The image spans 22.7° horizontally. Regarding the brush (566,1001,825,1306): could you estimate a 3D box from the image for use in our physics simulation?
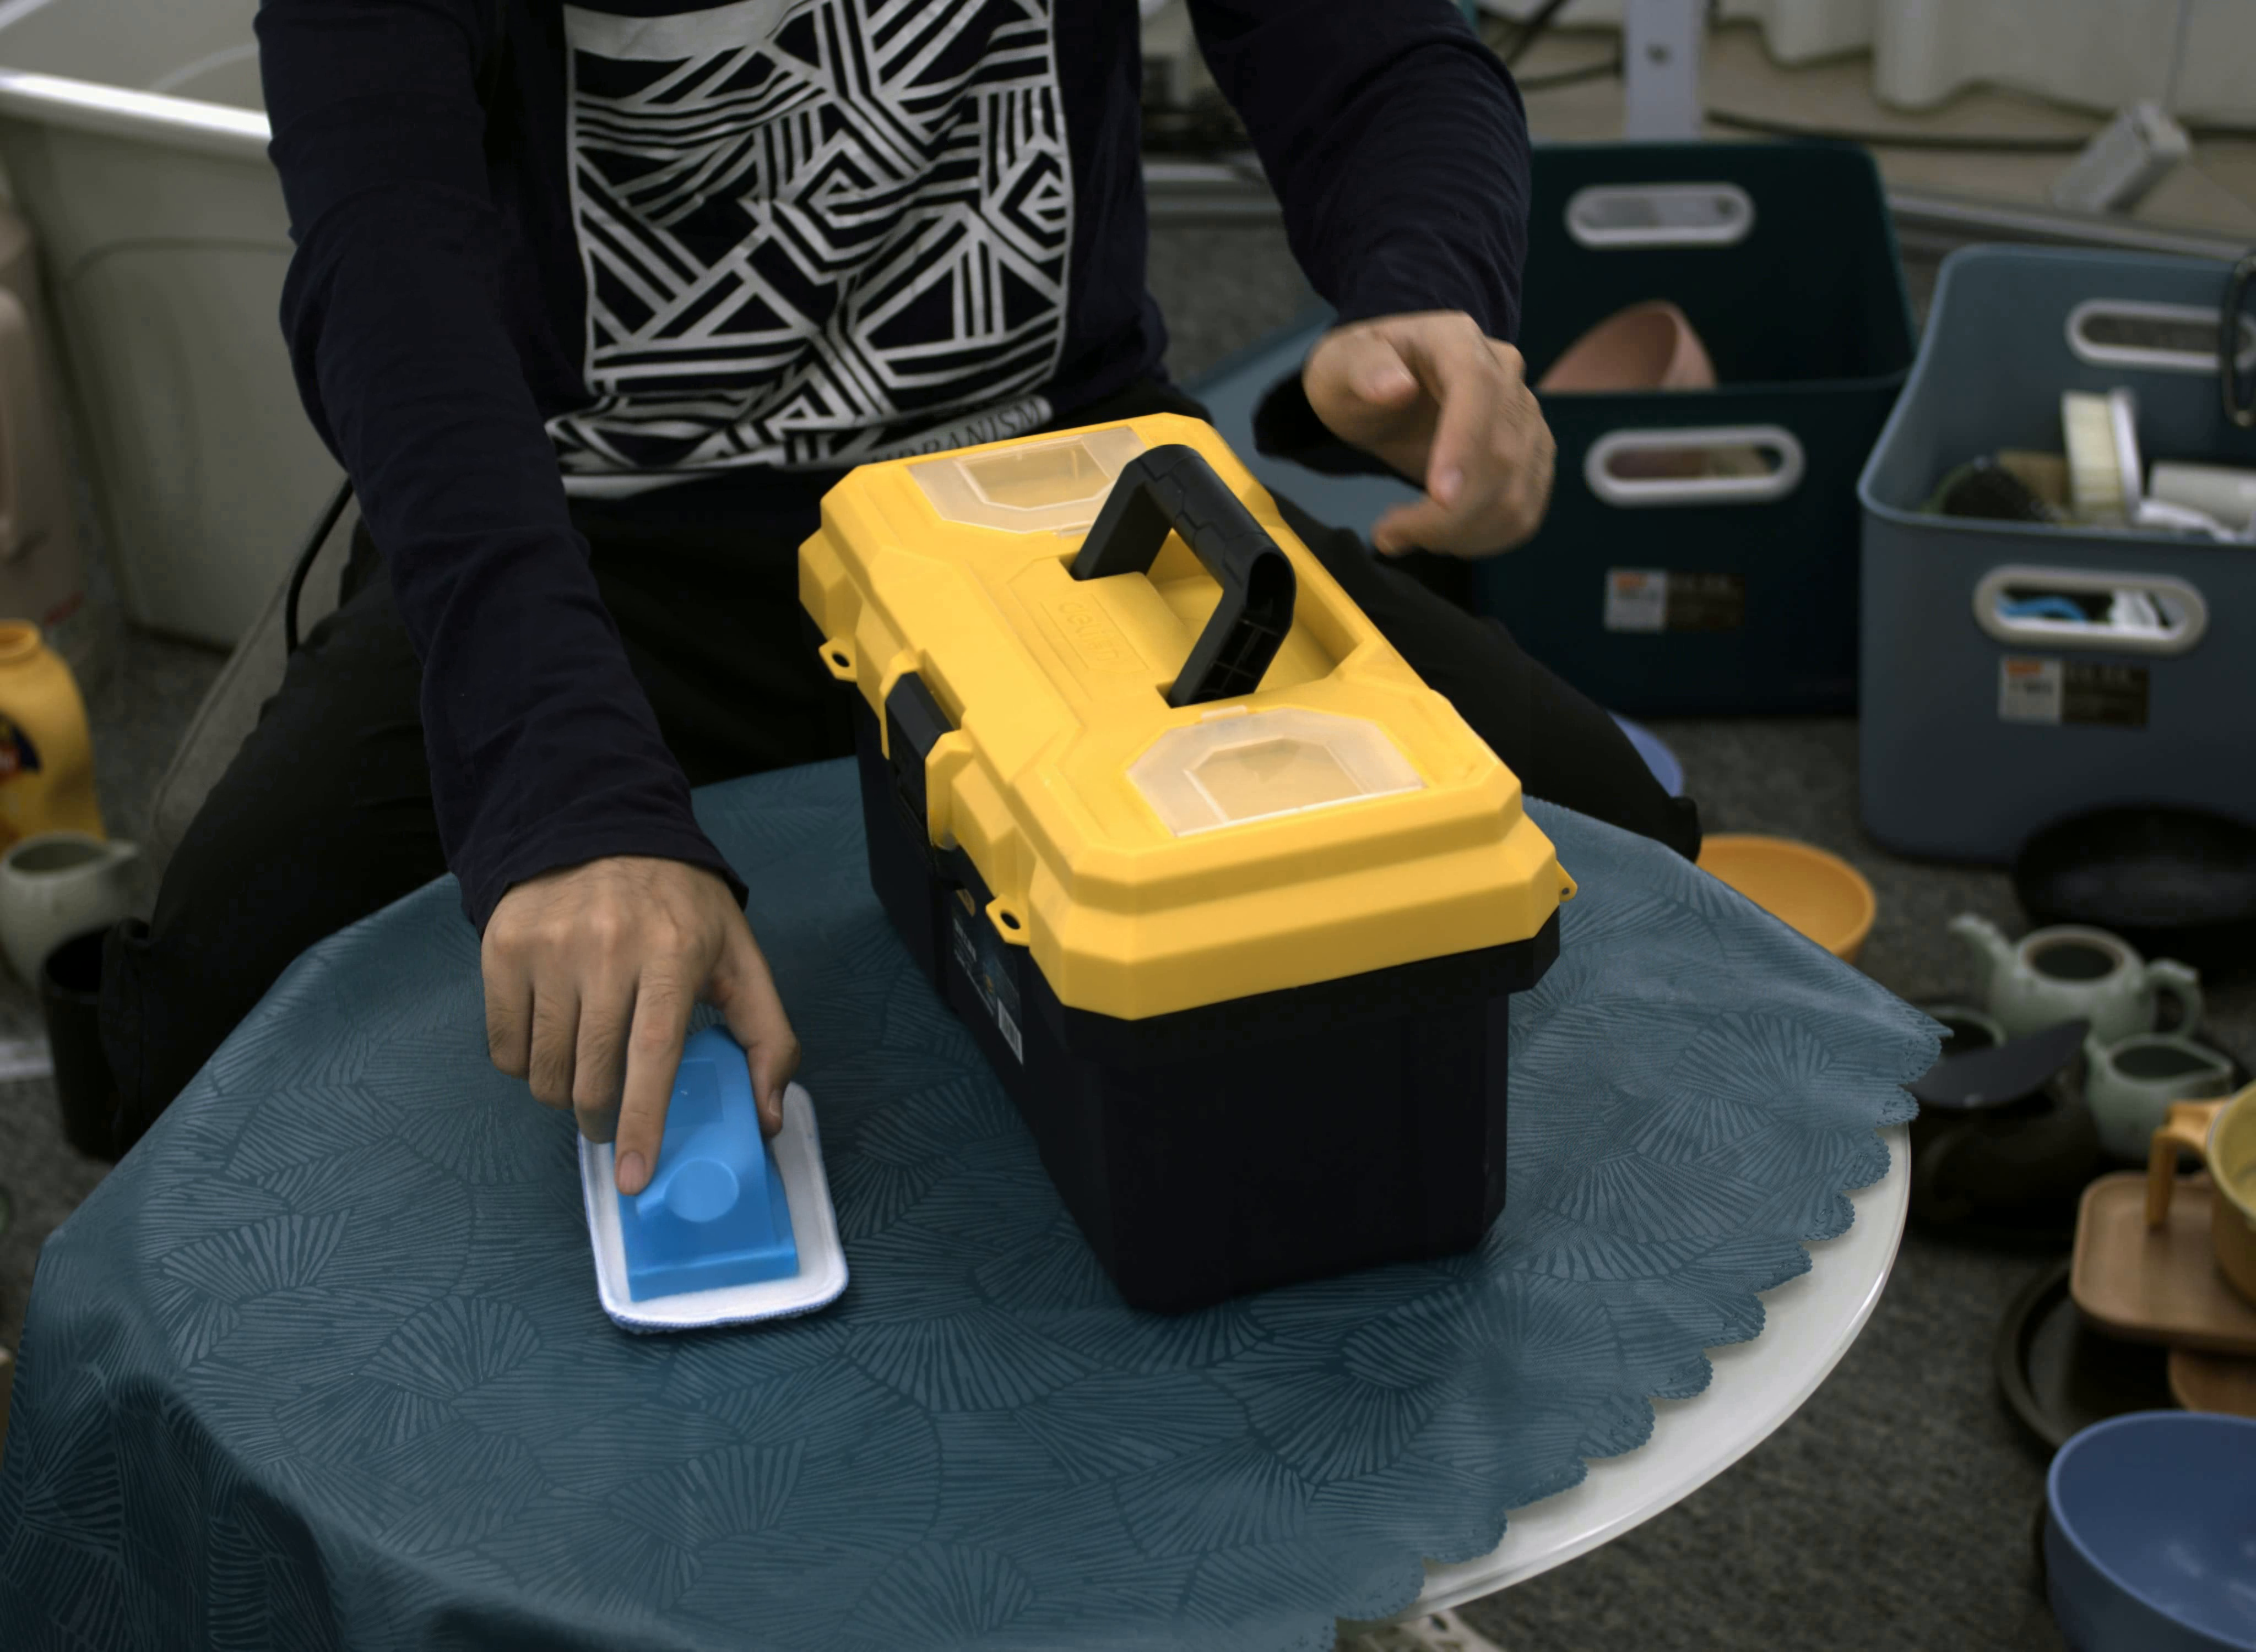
[{"bbox_3d":[-0.142,0.103,1.843,0.083,0.055,0.146,-3,29,-6],"label":"brush"}]

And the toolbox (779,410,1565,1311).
[{"bbox_3d":[0.010,0.005,1.897,0.181,0.171,0.355,-10,28,-15],"label":"toolbox"}]
